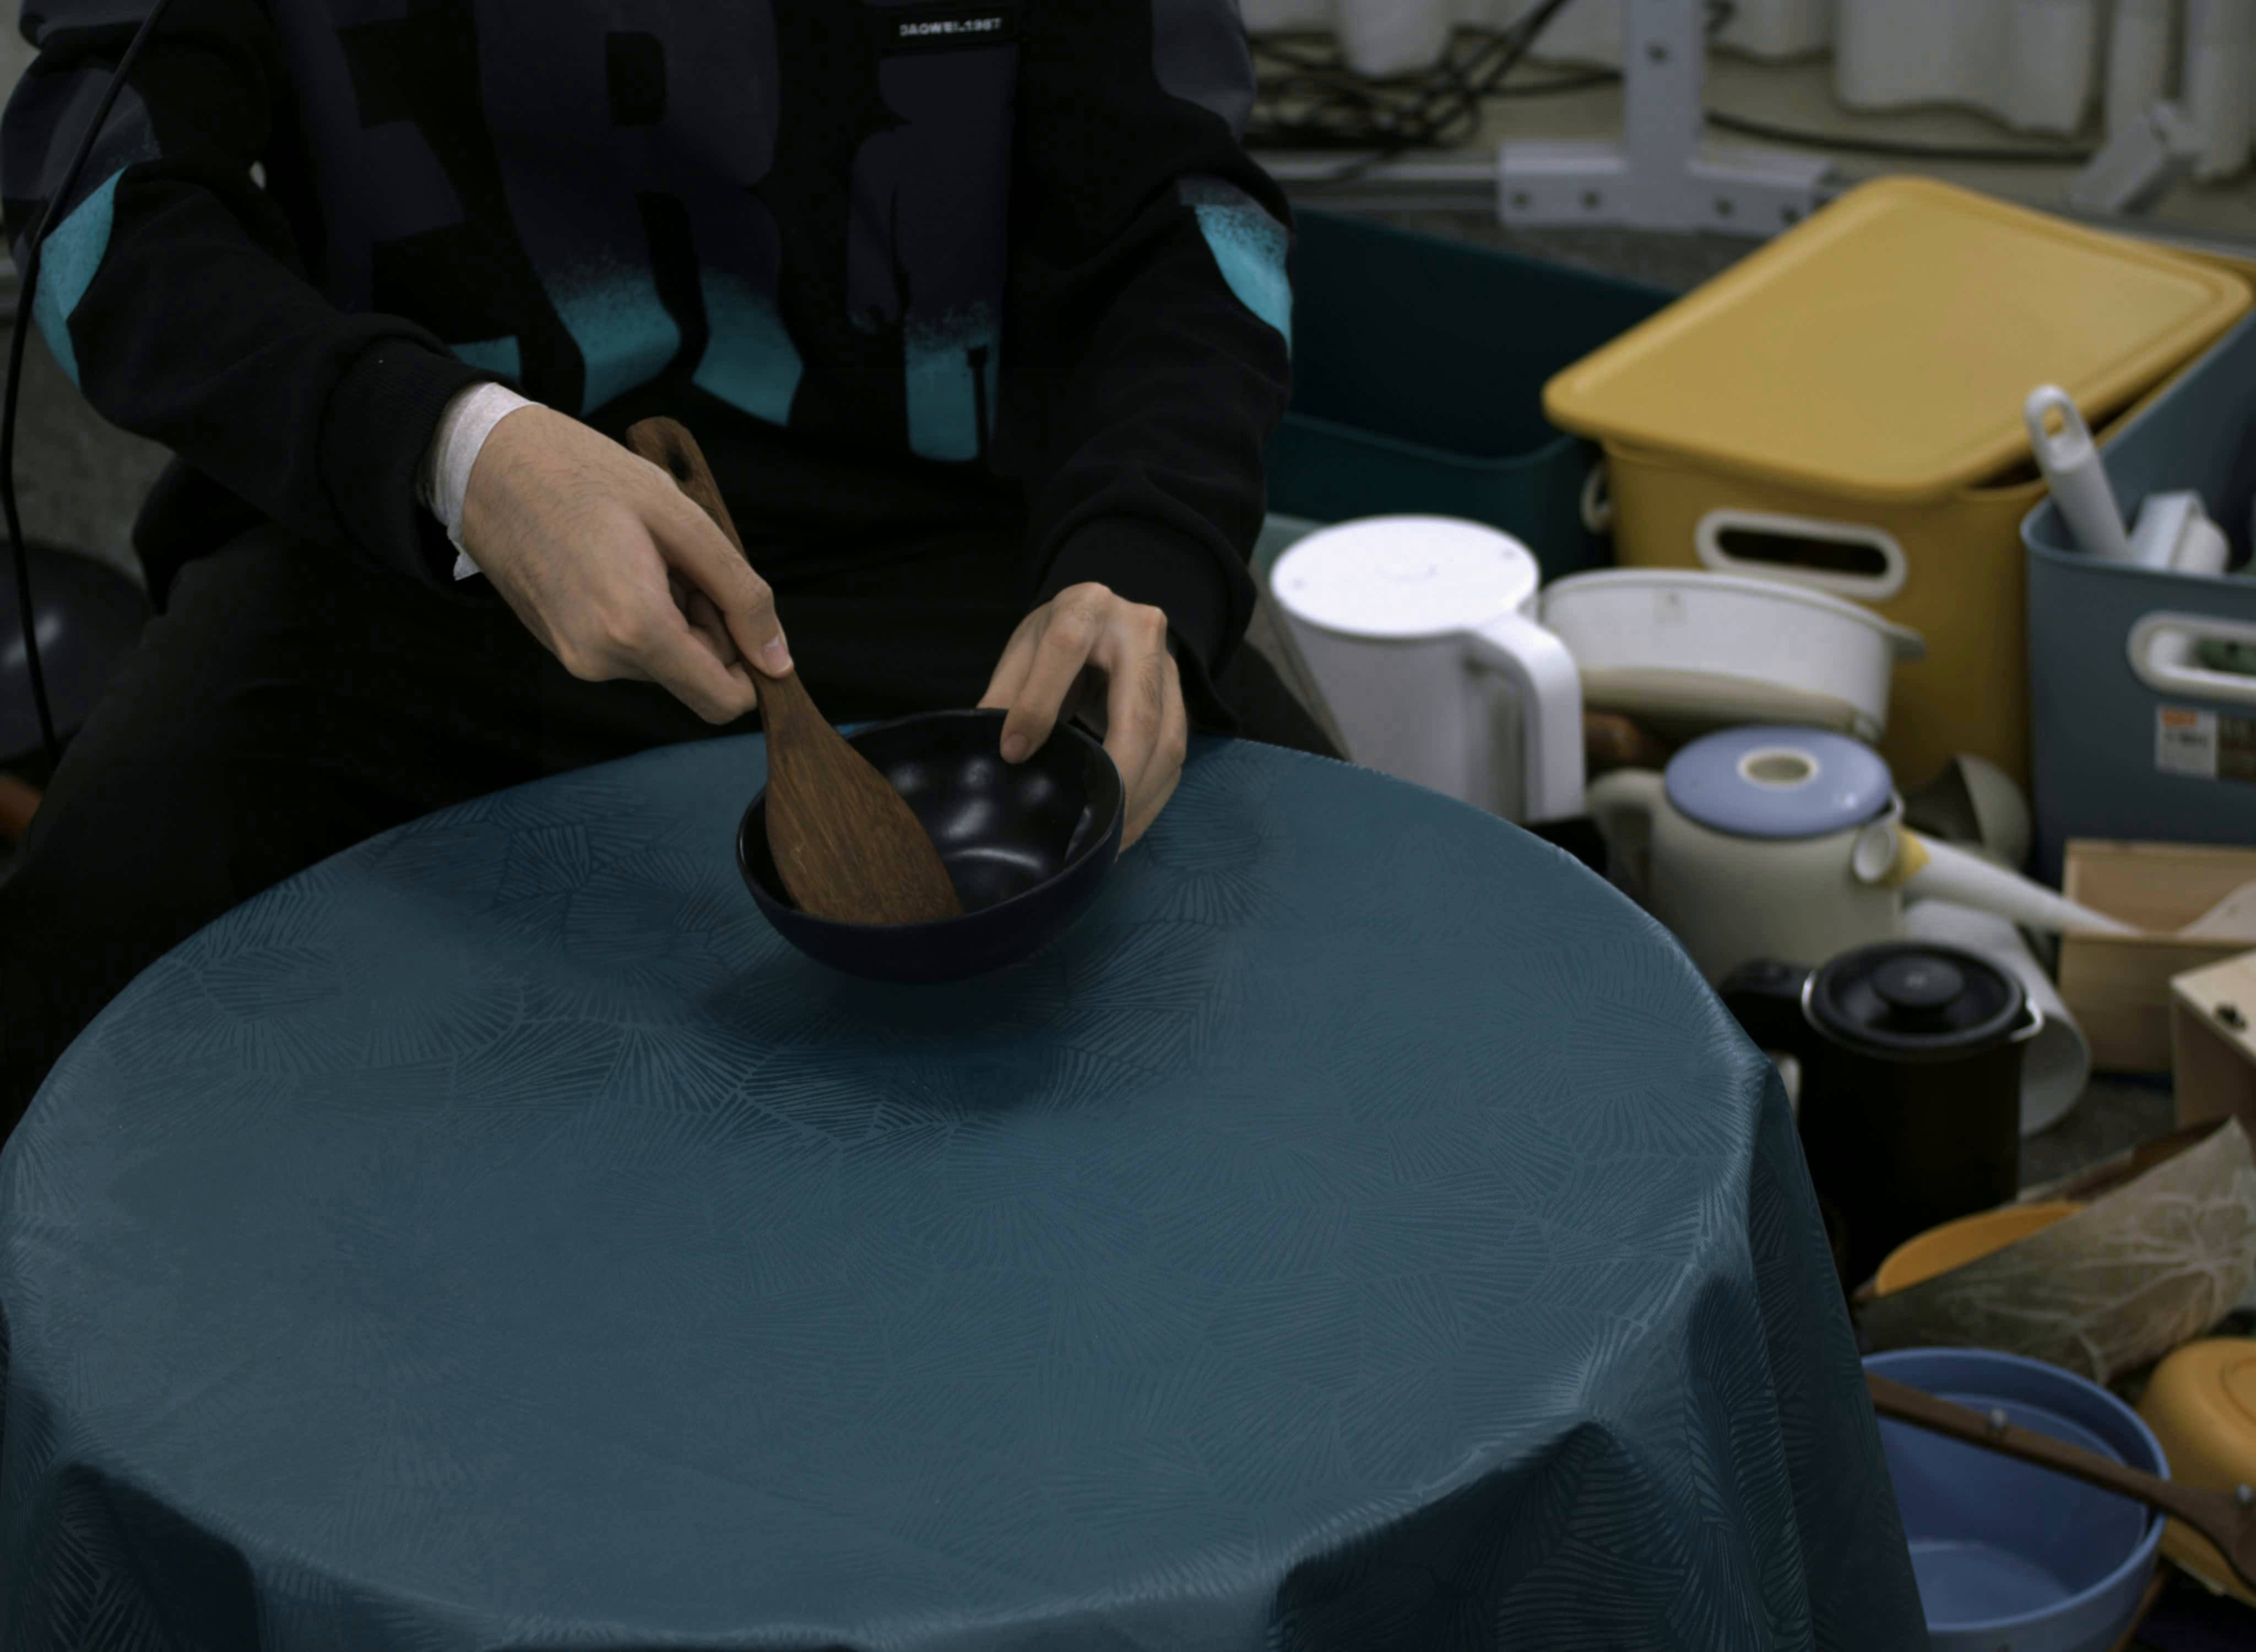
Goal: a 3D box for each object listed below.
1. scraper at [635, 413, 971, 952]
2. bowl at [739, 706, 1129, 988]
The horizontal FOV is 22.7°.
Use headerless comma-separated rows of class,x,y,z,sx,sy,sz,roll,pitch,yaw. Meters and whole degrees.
scraper,-0.122,-0.051,1.976,0.076,0.213,0.010,-13,-17,-48
bowl,-0.064,0.016,1.973,0.139,0.049,0.142,-8,32,5
